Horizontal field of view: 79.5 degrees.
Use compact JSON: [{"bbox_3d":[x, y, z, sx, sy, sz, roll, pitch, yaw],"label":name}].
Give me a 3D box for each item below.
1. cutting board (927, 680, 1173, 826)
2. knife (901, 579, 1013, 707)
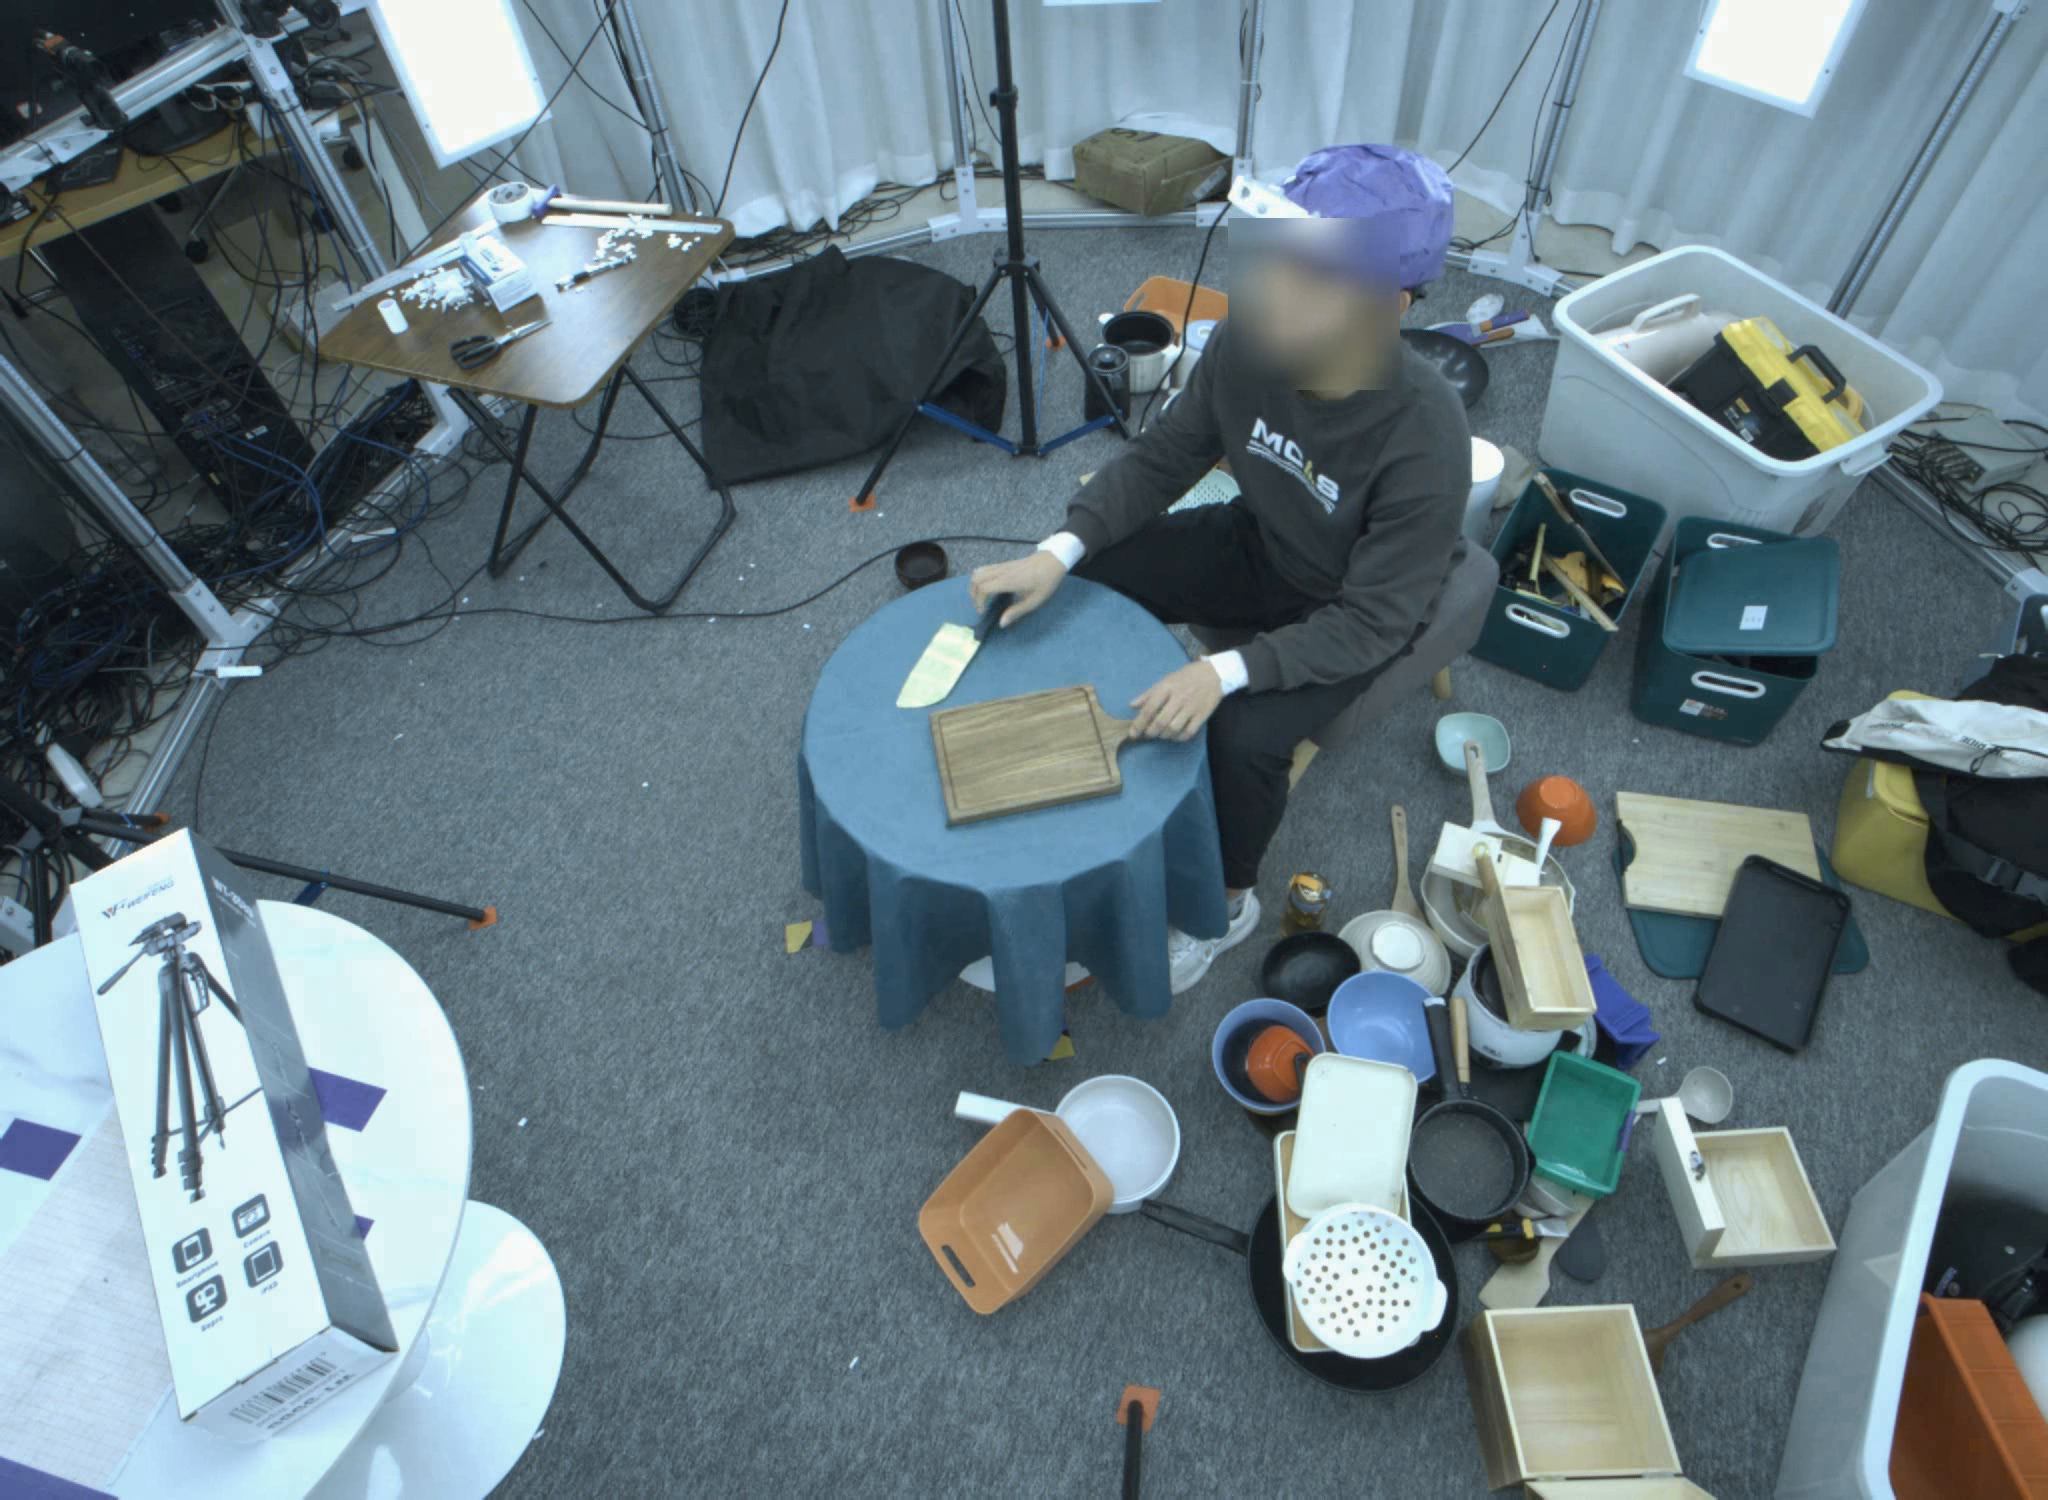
[{"bbox_3d":[0.047,-0.009,1.787,0.354,0.023,0.198,-11,56,-7],"label":"cutting board"},{"bbox_3d":[-0.103,-0.170,1.910,0.080,0.027,0.290,26,60,15],"label":"knife"}]
